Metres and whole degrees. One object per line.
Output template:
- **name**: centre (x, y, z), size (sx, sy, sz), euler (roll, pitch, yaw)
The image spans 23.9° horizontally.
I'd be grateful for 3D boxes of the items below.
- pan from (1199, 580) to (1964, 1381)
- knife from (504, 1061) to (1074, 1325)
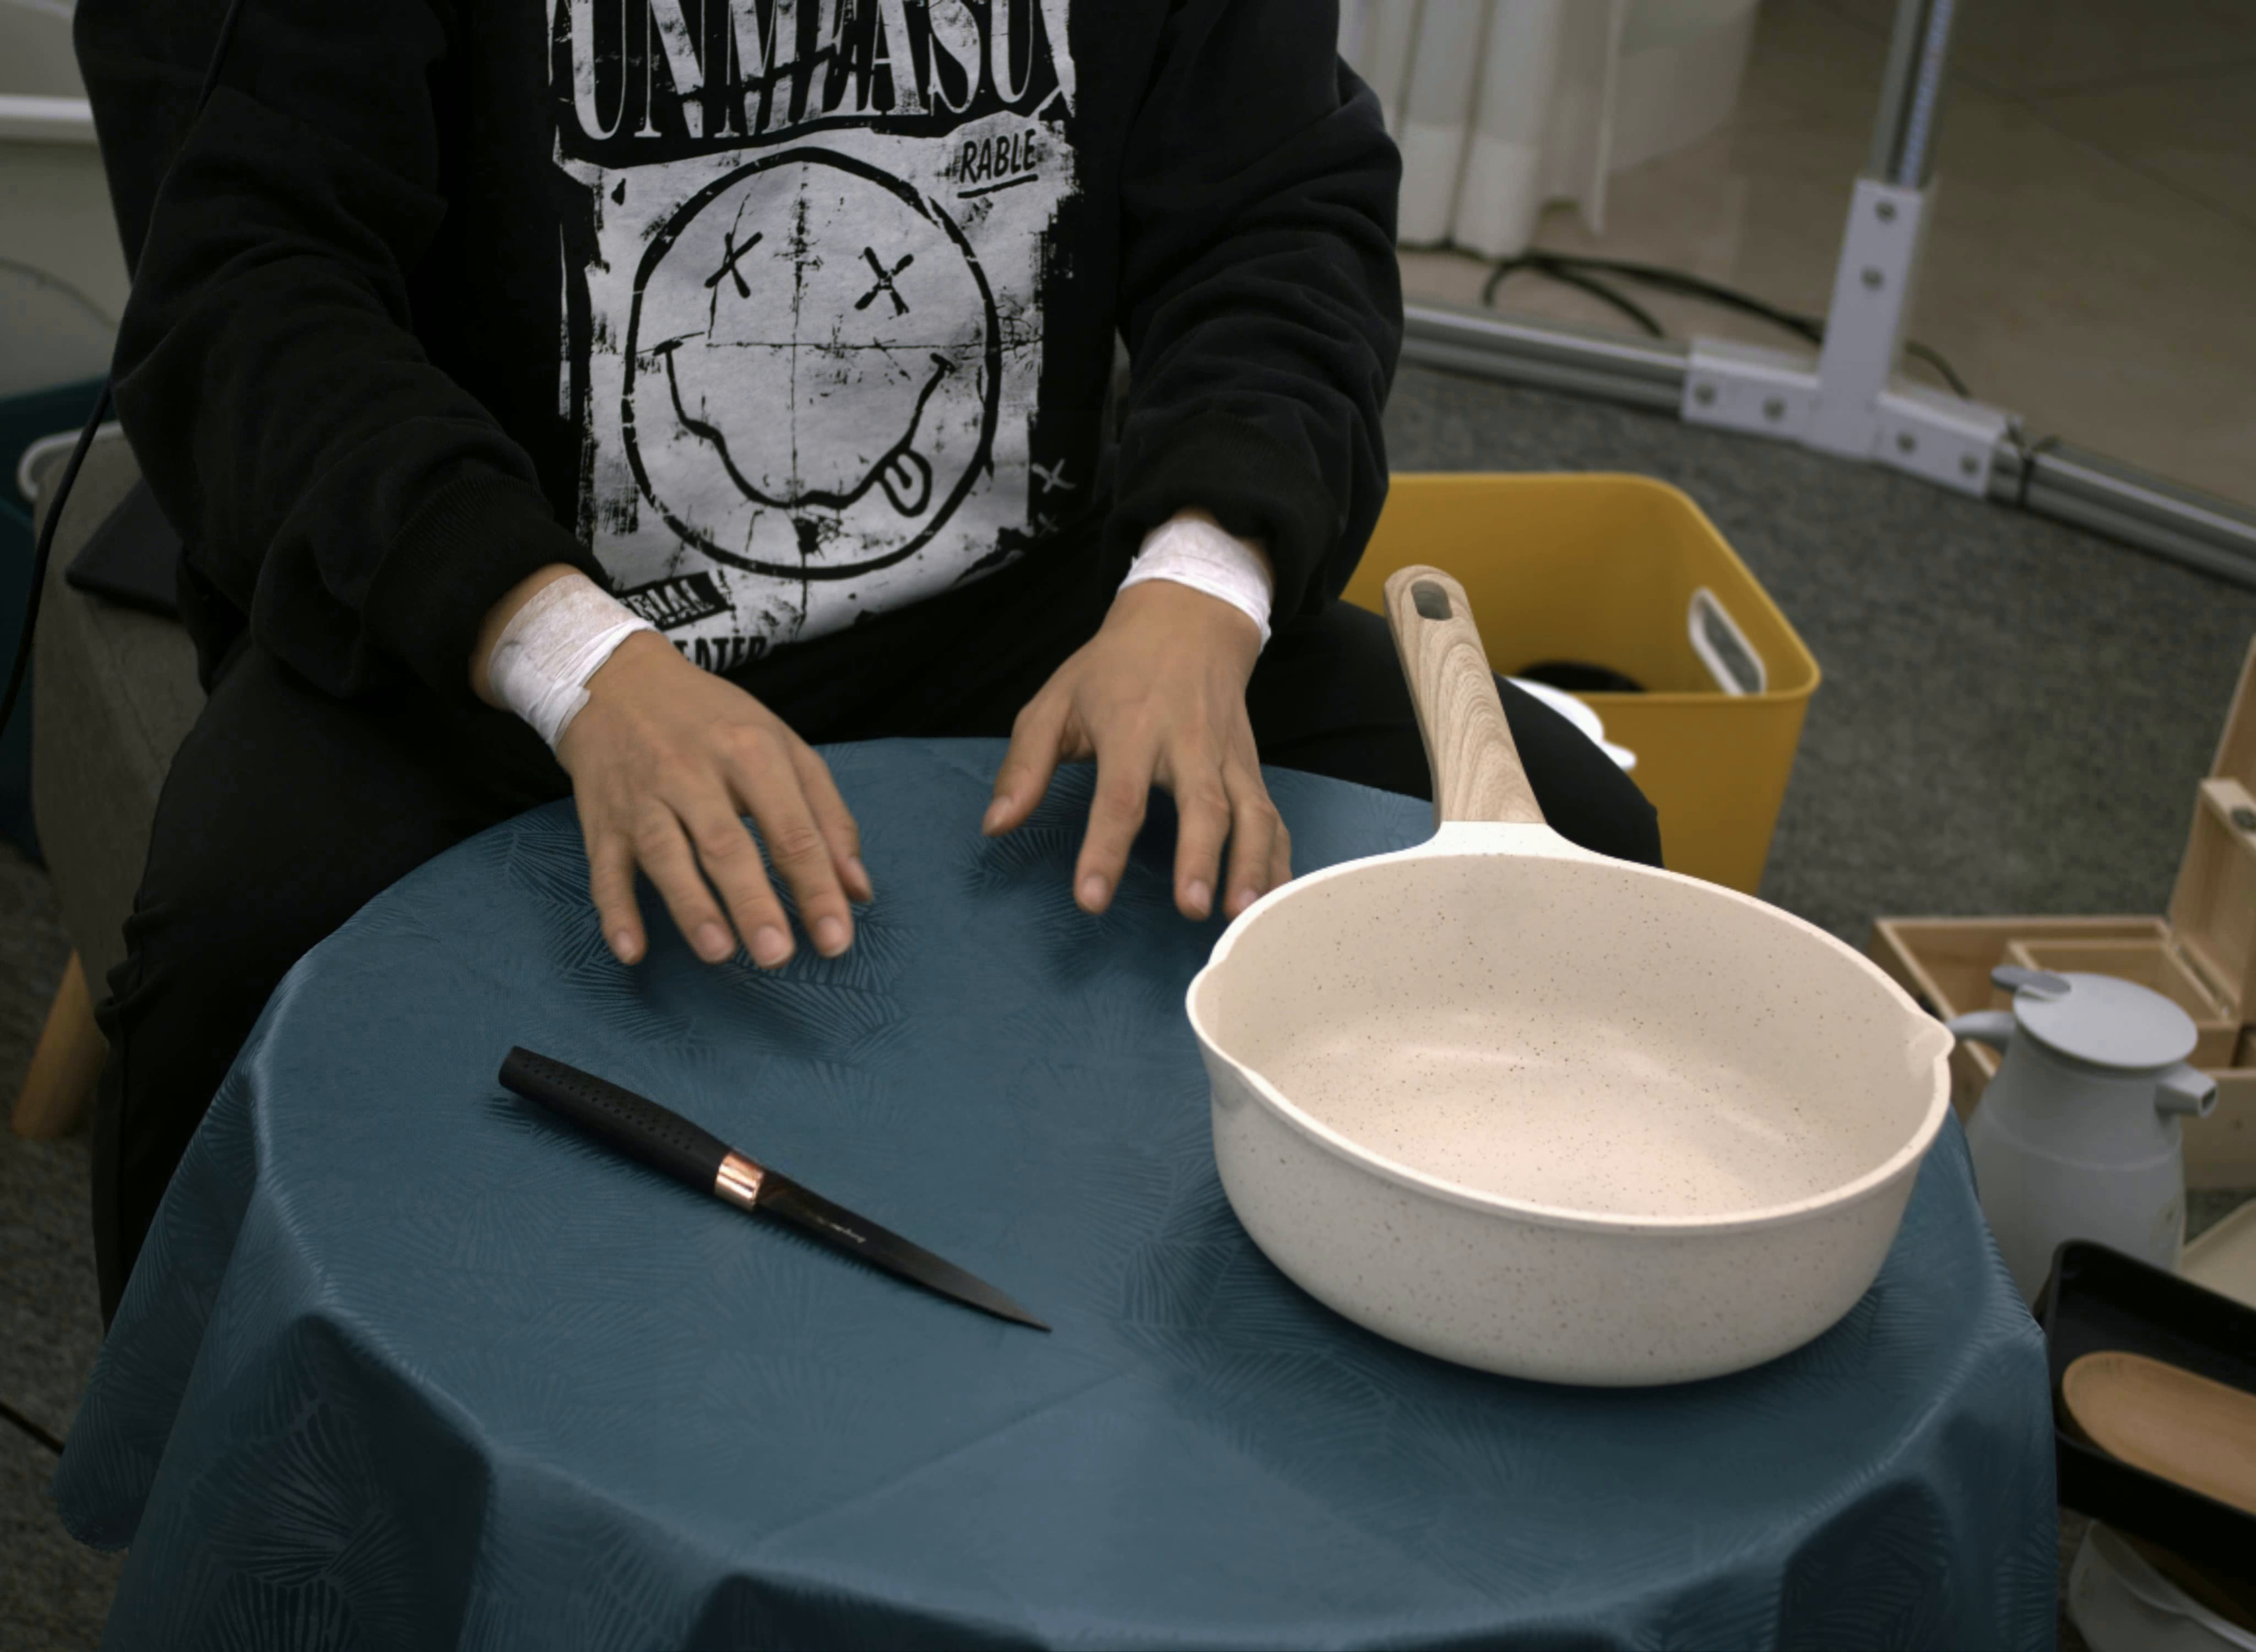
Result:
- **pan**: centre (0.137, 0.051, 1.870), size (0.262, 0.101, 0.438), euler (0, 27, -9)
- **knife**: centre (-0.115, 0.123, 1.771), size (0.226, 0.017, 0.026), euler (22, 15, 26)
